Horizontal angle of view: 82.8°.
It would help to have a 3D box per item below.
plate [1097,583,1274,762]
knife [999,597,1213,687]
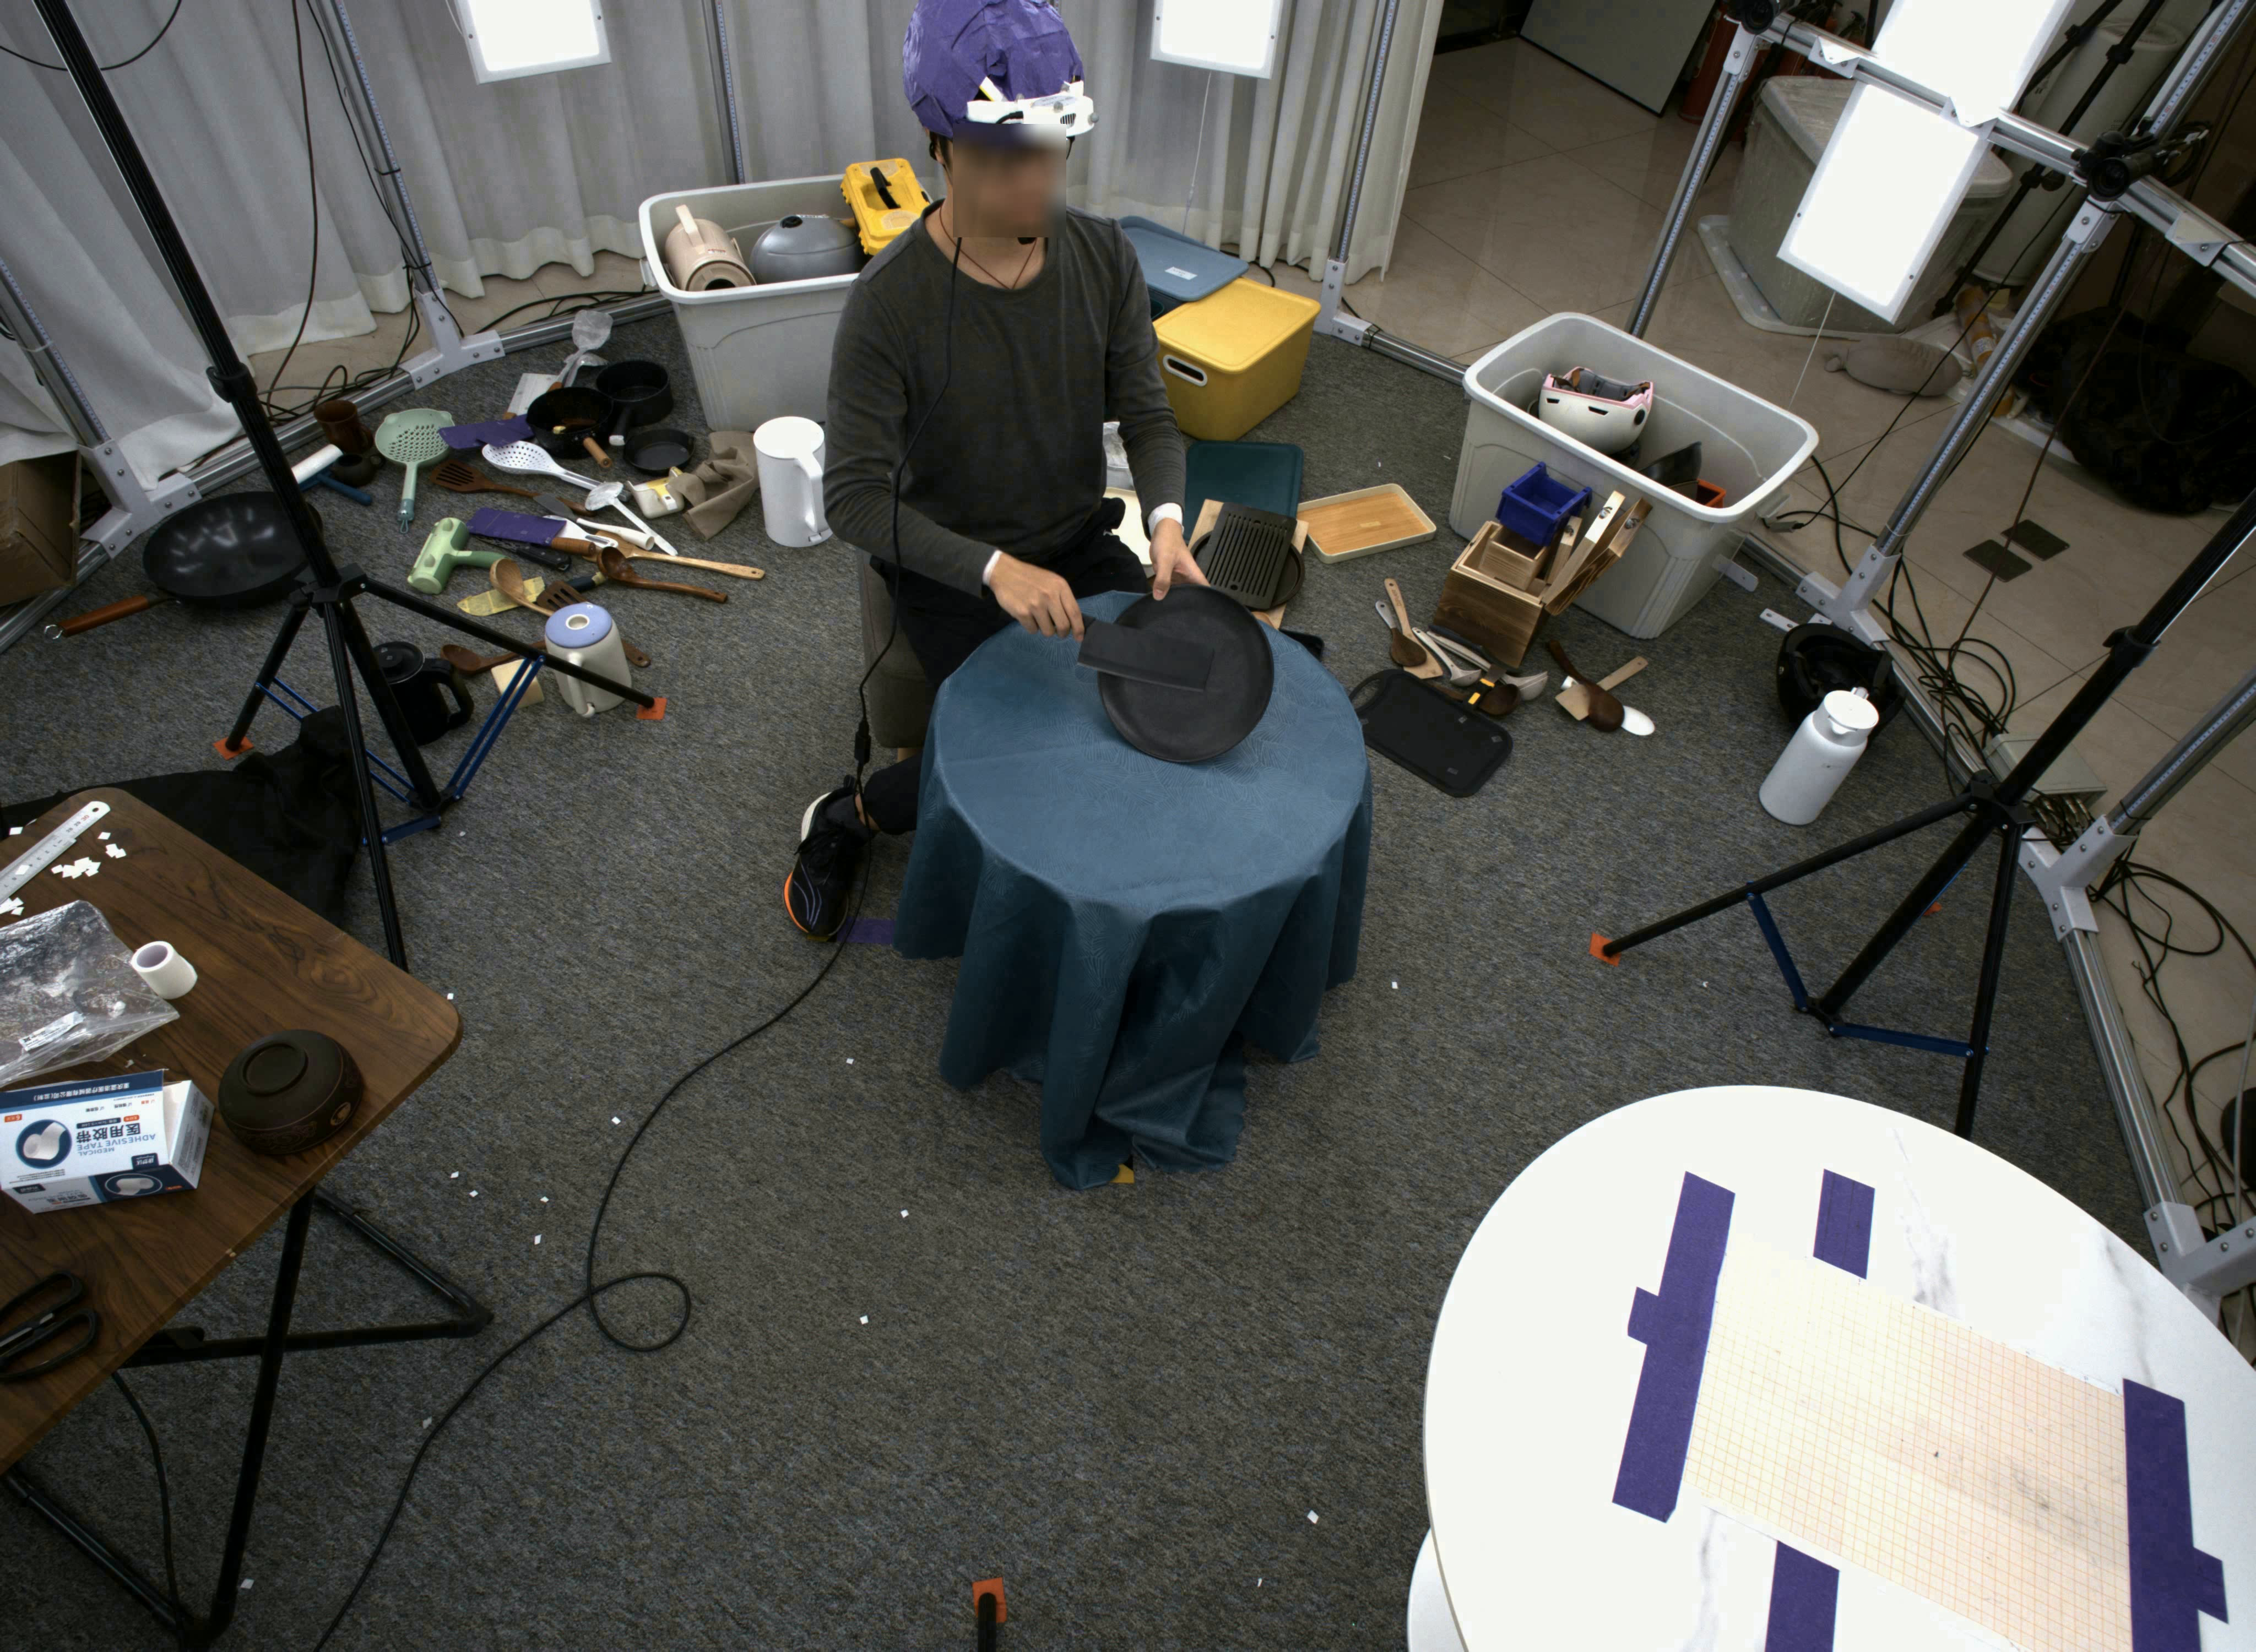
[{"bbox_3d":[0.078,-0.208,1.754,0.245,0.023,0.245,0,89,12],"label":"plate"},{"bbox_3d":[-0.032,-0.256,1.767,0.303,0.021,0.081,19,92,7],"label":"knife"}]
